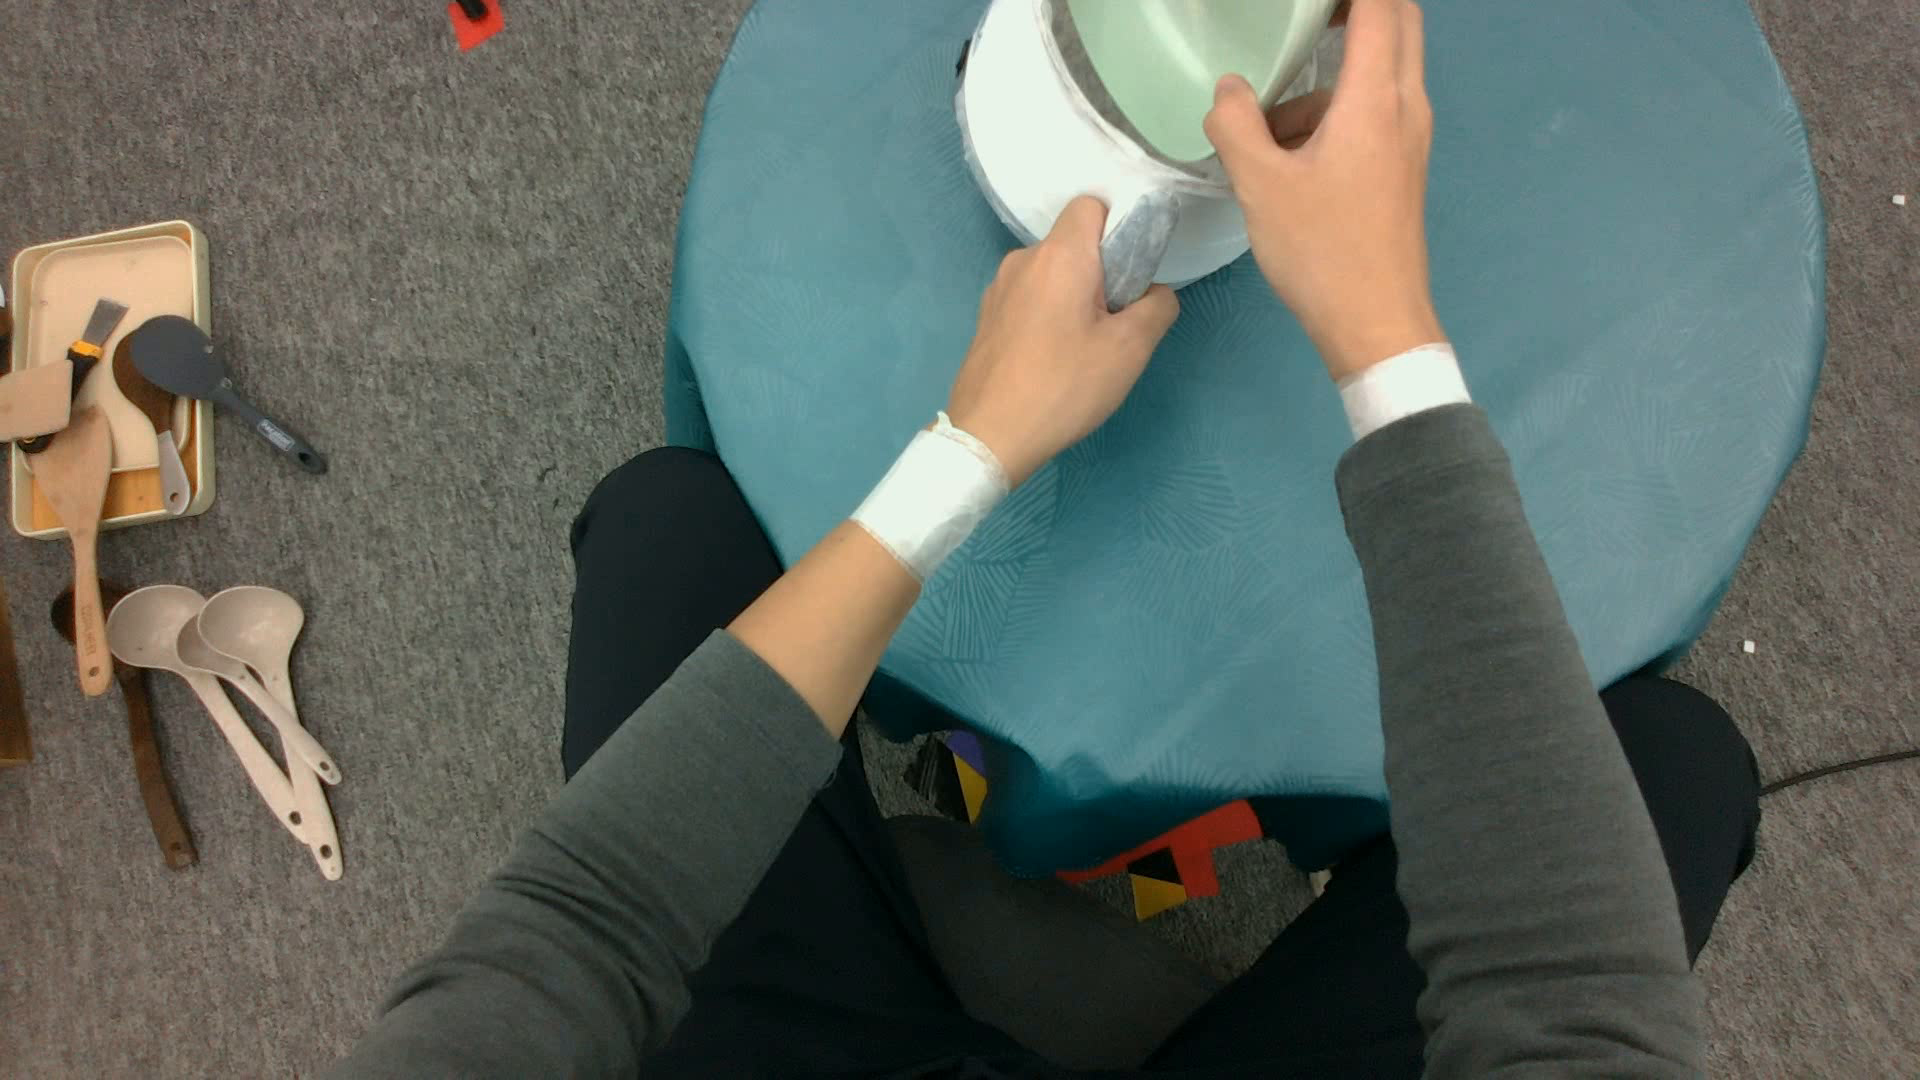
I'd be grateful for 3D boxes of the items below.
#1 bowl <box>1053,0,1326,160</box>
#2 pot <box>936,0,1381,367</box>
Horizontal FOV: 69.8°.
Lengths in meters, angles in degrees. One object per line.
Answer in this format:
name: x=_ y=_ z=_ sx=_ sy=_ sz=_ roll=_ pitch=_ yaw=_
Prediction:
bowl: x=0.102 y=-0.238 z=0.565 sx=0.059 sy=0.151 sz=0.151 roll=-24 pitch=76 yaw=-25
pot: x=0.081 y=-0.199 z=0.651 sx=0.179 sy=0.136 sz=0.234 roll=20 pitch=74 yaw=-12
